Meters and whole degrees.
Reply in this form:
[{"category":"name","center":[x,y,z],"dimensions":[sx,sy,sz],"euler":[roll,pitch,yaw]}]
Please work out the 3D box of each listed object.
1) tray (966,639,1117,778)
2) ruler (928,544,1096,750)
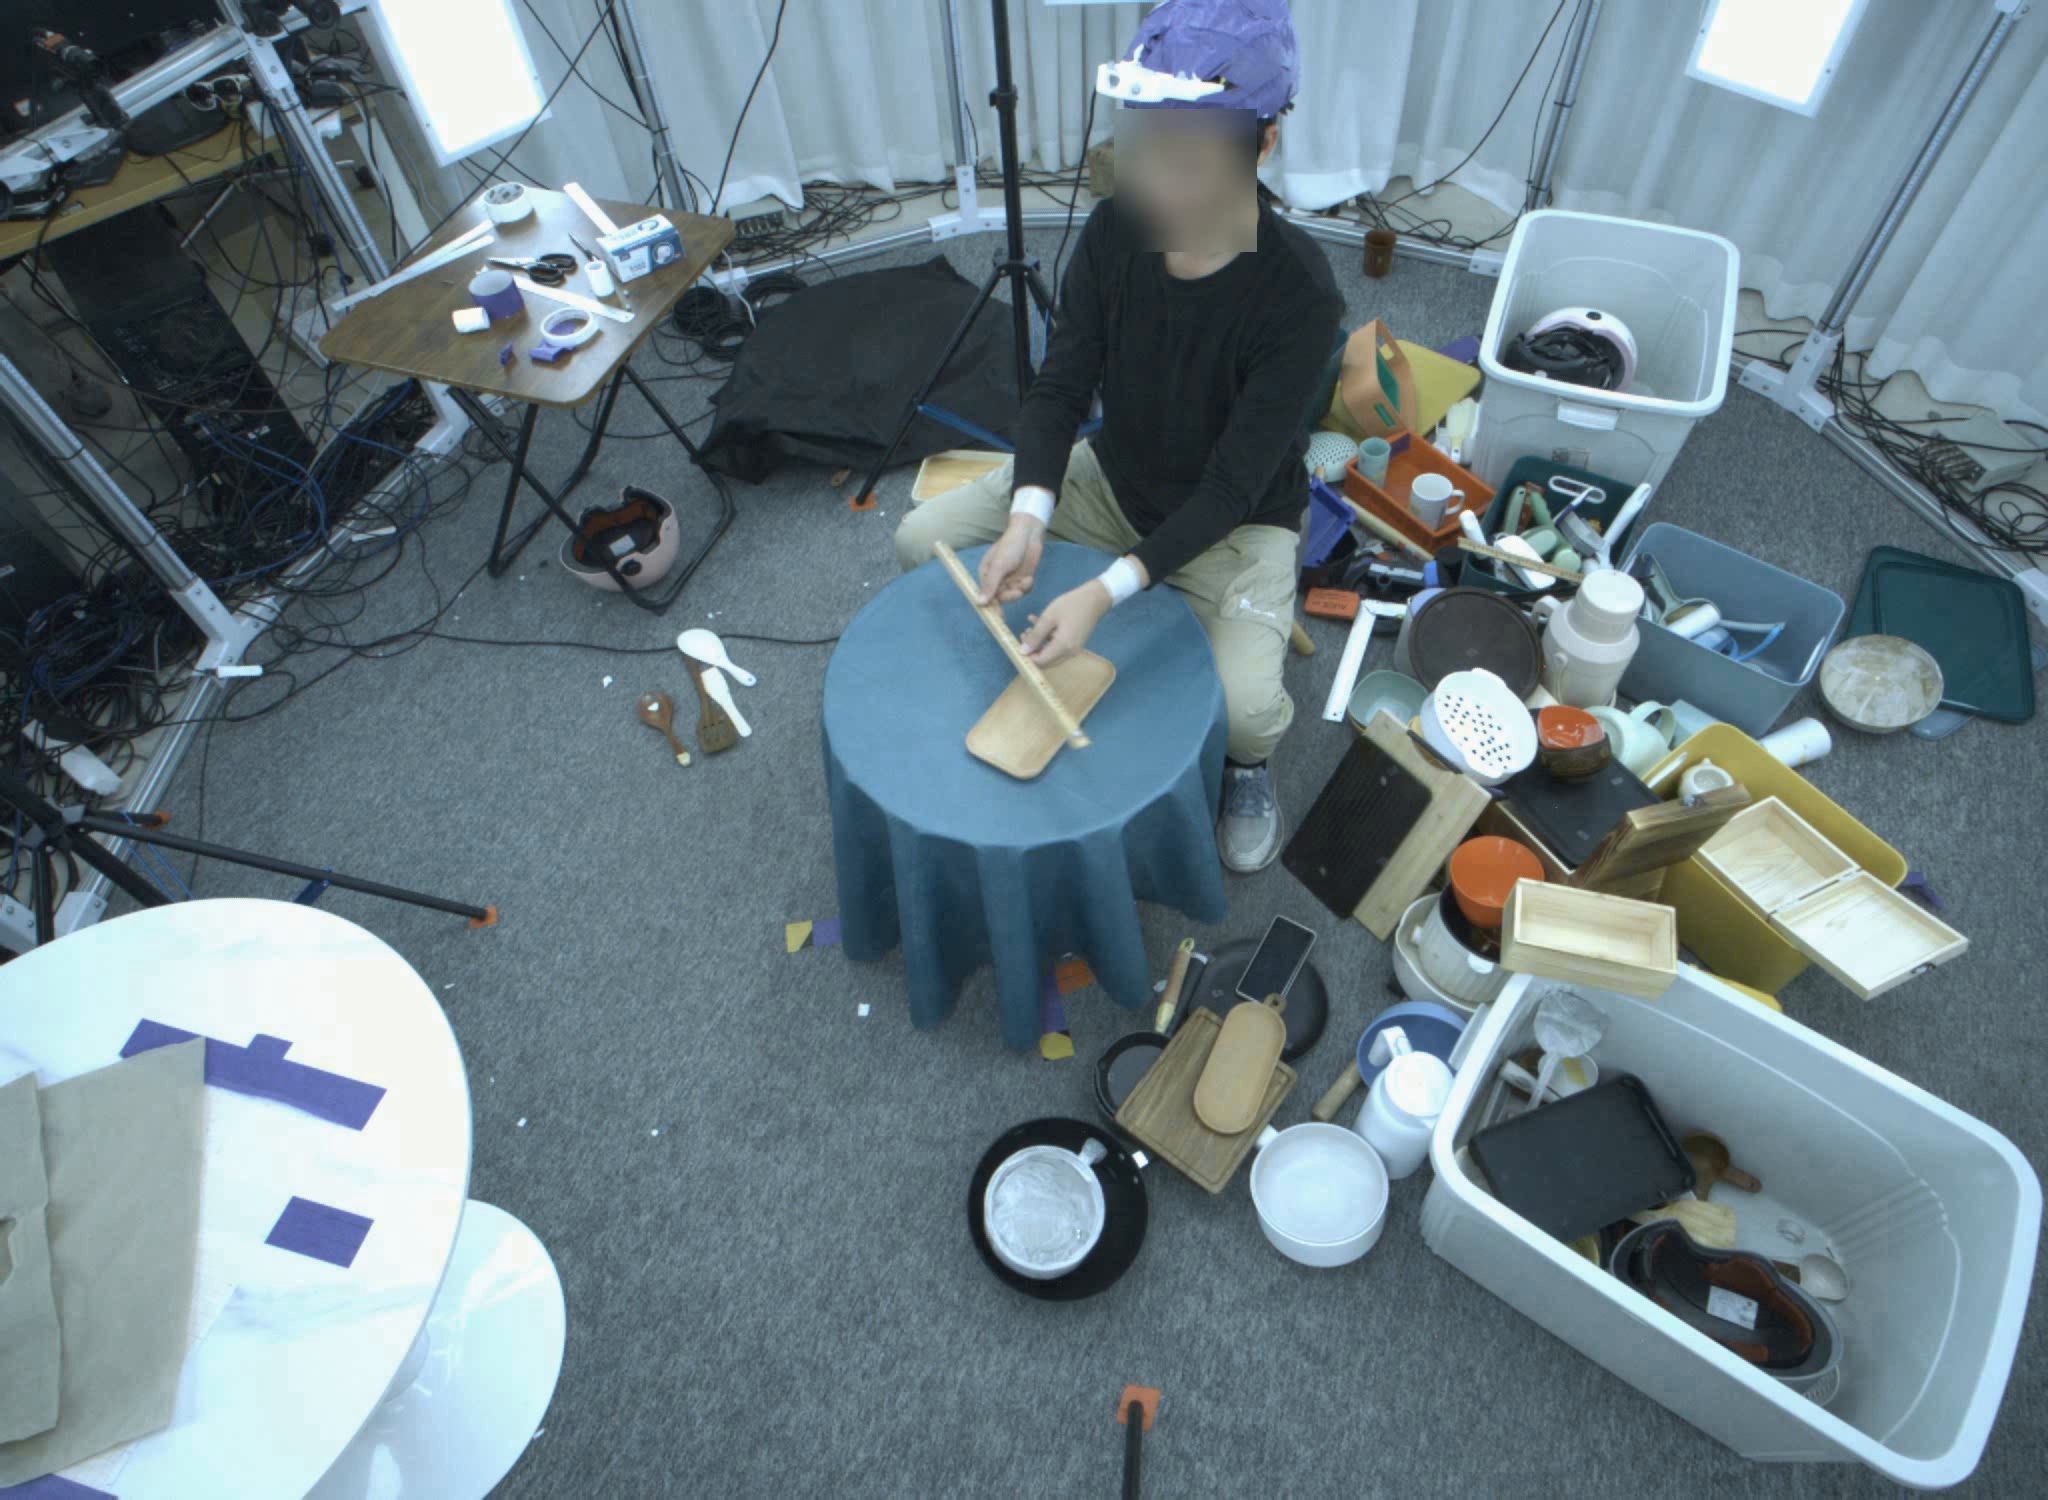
[{"category":"tray","center":[0.028,-0.064,1.822],"dimensions":[0.129,0.023,0.252],"euler":[30,60,19]},{"category":"ruler","center":[-0.027,-0.165,1.789],"dimensions":[0.027,0.006,0.490],"euler":[-18,50,-22]}]
